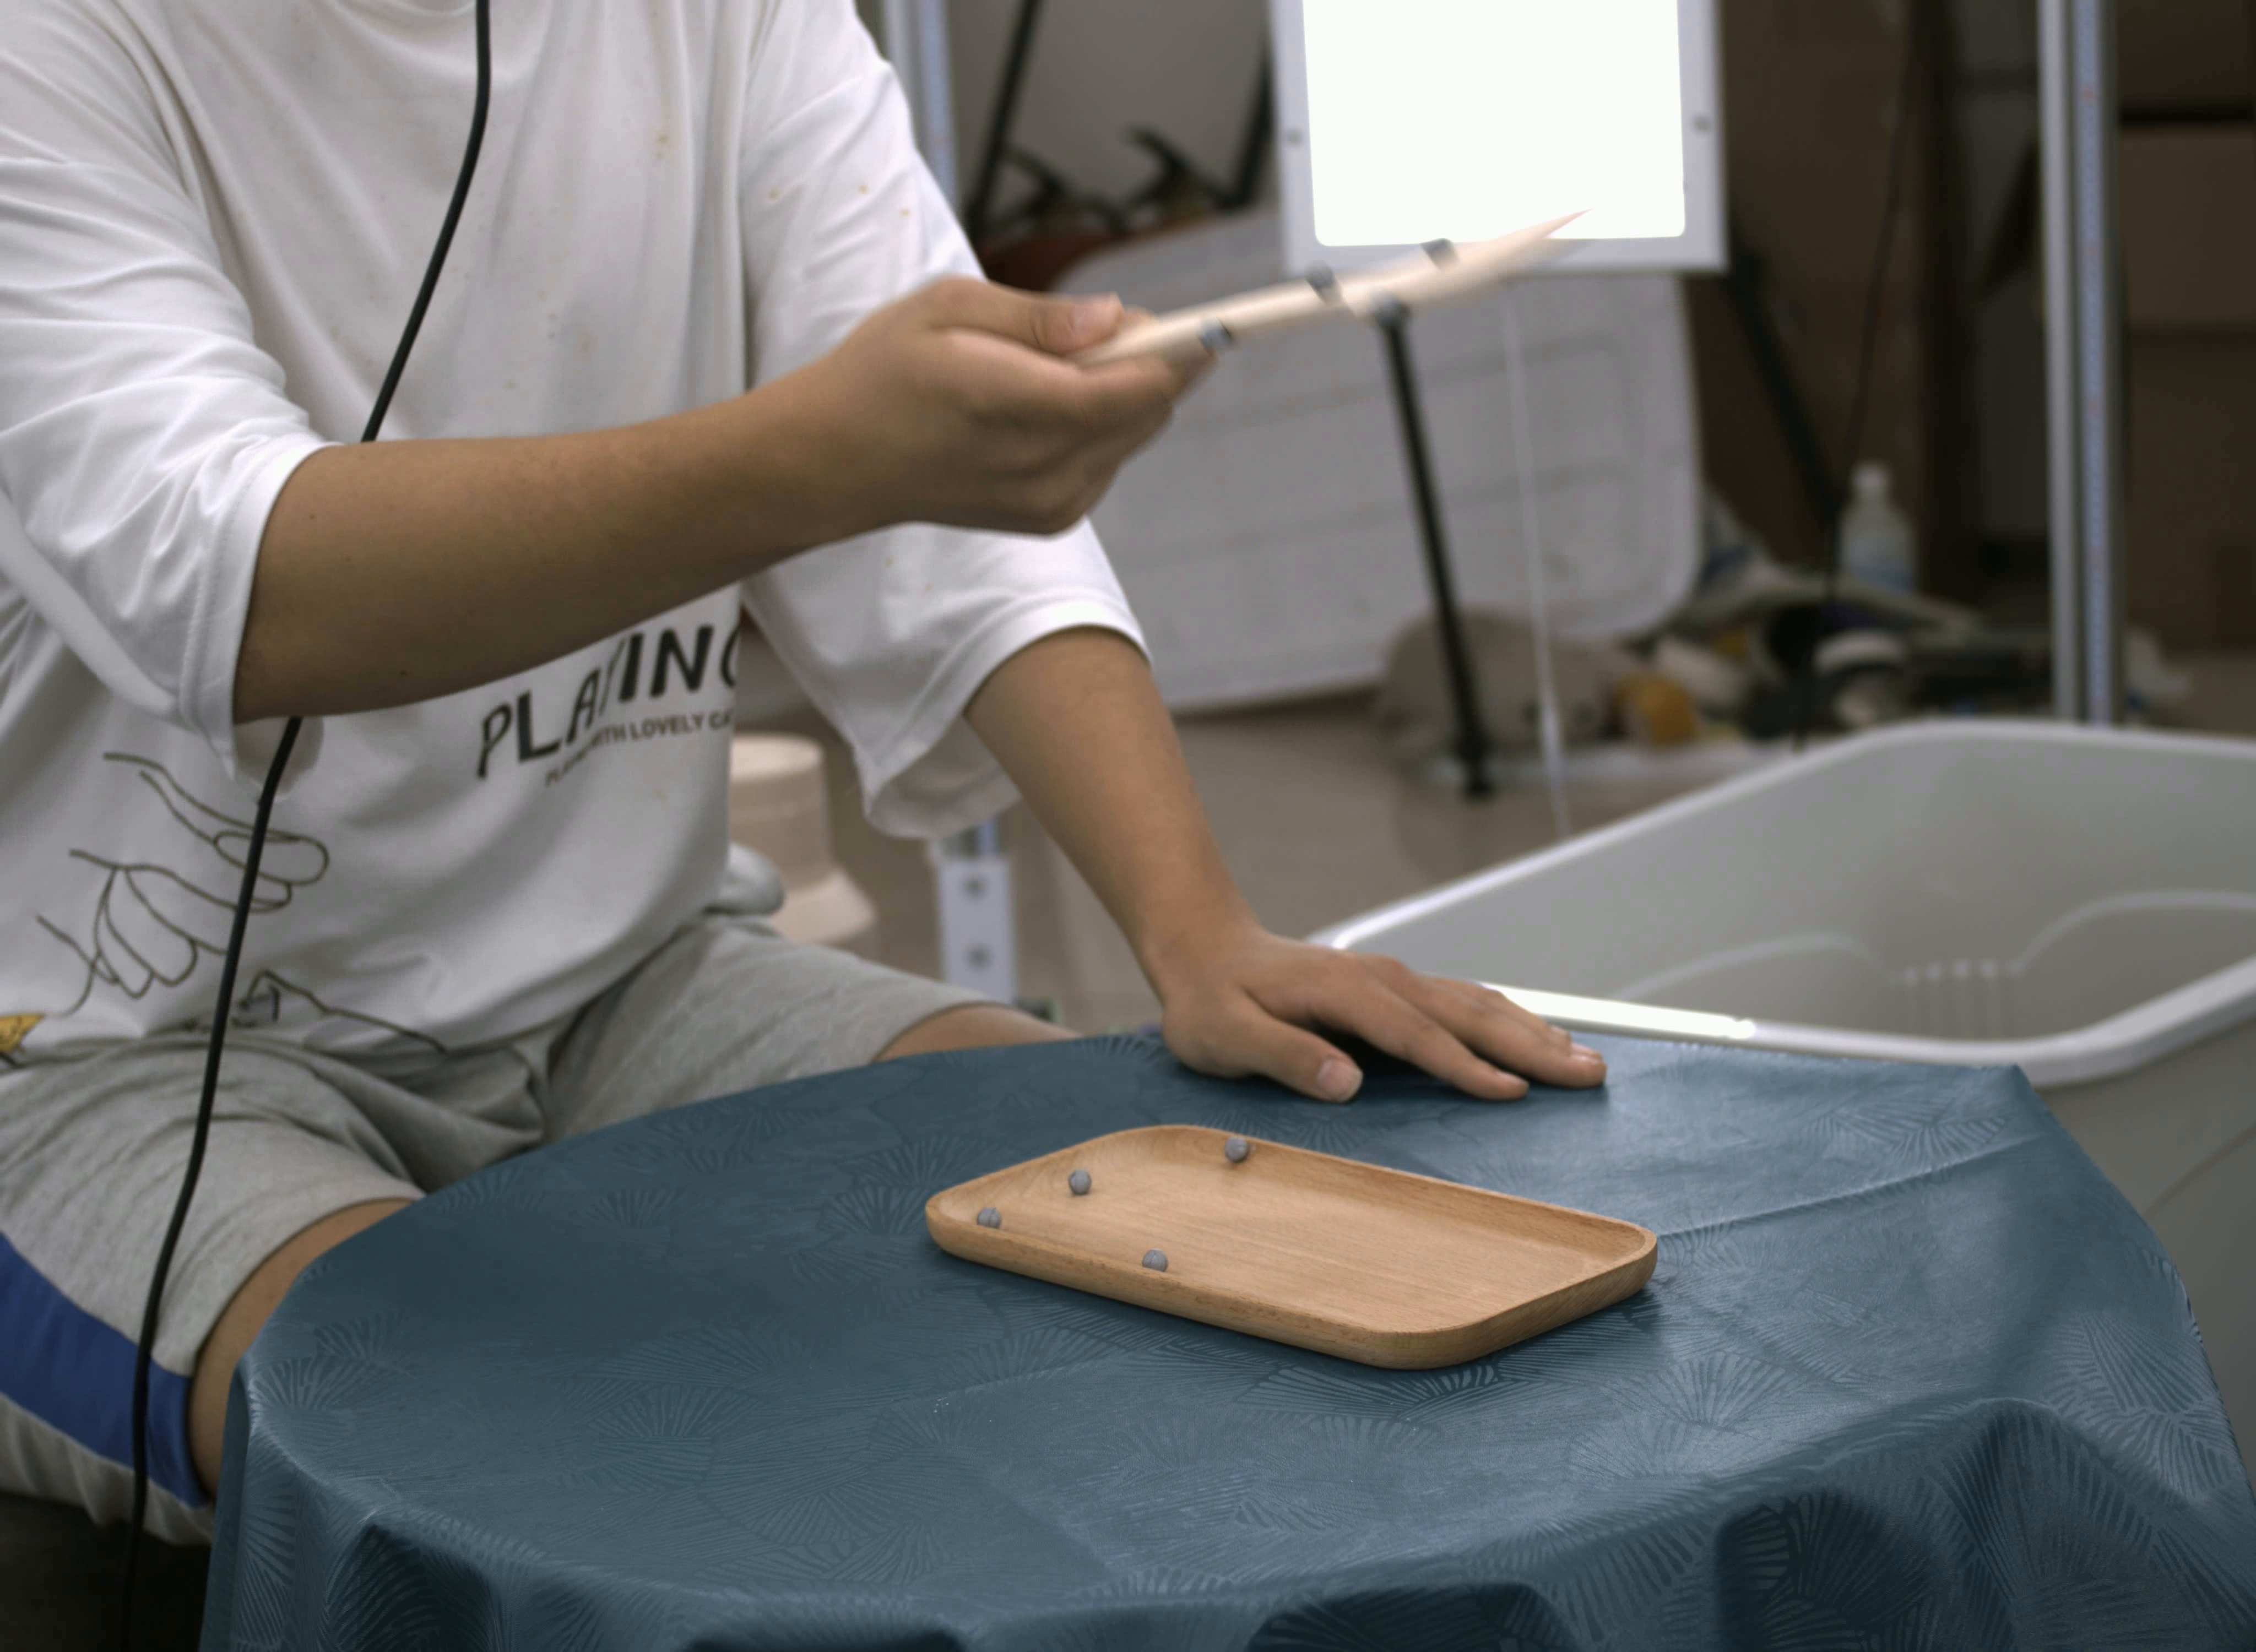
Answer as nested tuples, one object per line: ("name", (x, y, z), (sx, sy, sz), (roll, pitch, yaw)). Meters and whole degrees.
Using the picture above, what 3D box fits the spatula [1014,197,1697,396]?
("spatula", (0.055, -0.153, 1.663), (0.071, 0.010, 0.299), (-31, 14, -33))

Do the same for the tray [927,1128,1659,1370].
("tray", (0.051, 0.136, 1.804), (0.127, 0.023, 0.256), (-19, 19, -37))
